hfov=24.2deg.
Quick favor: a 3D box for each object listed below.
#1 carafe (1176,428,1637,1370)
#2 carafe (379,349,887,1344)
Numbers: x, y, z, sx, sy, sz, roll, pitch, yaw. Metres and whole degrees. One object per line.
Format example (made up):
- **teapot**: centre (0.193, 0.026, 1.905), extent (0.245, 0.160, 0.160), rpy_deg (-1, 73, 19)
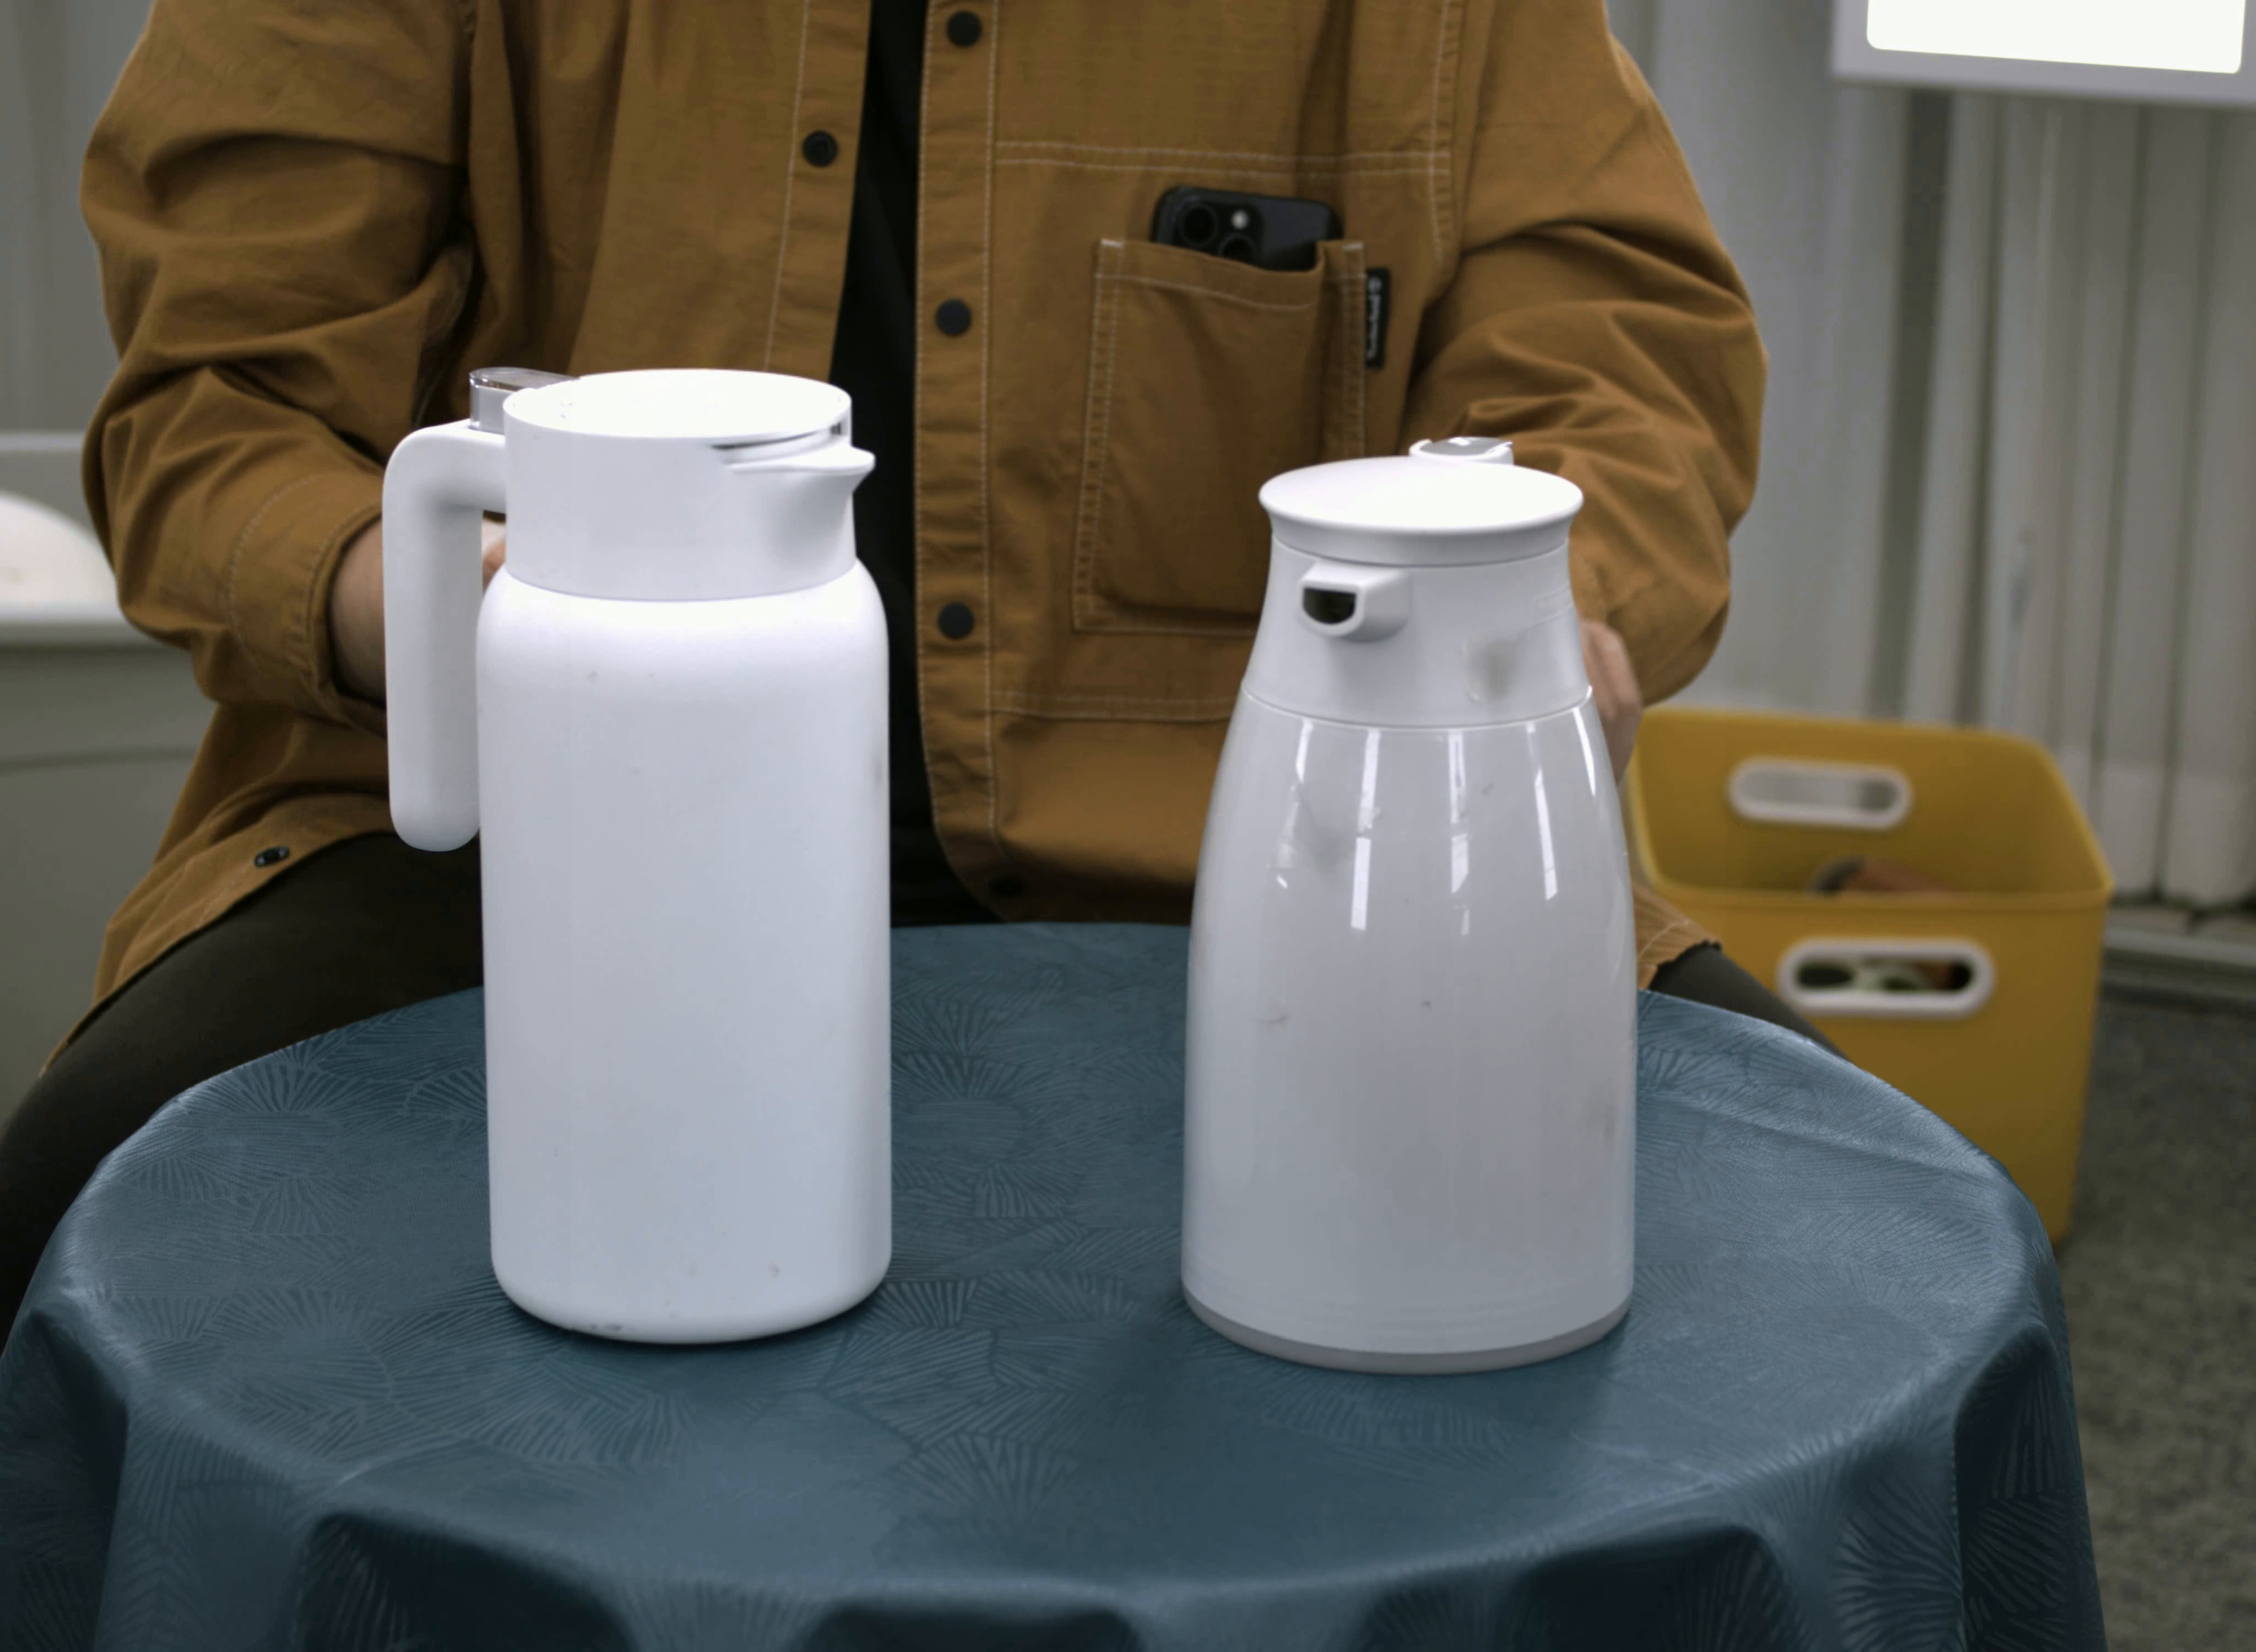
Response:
- **carafe**: centre (0.089, 0.012, 1.520), extent (0.131, 0.250, 0.168), rpy_deg (8, 17, 24)
- **carafe**: centre (-0.142, 0.003, 1.509), extent (0.170, 0.271, 0.124), rpy_deg (11, 21, 33)
